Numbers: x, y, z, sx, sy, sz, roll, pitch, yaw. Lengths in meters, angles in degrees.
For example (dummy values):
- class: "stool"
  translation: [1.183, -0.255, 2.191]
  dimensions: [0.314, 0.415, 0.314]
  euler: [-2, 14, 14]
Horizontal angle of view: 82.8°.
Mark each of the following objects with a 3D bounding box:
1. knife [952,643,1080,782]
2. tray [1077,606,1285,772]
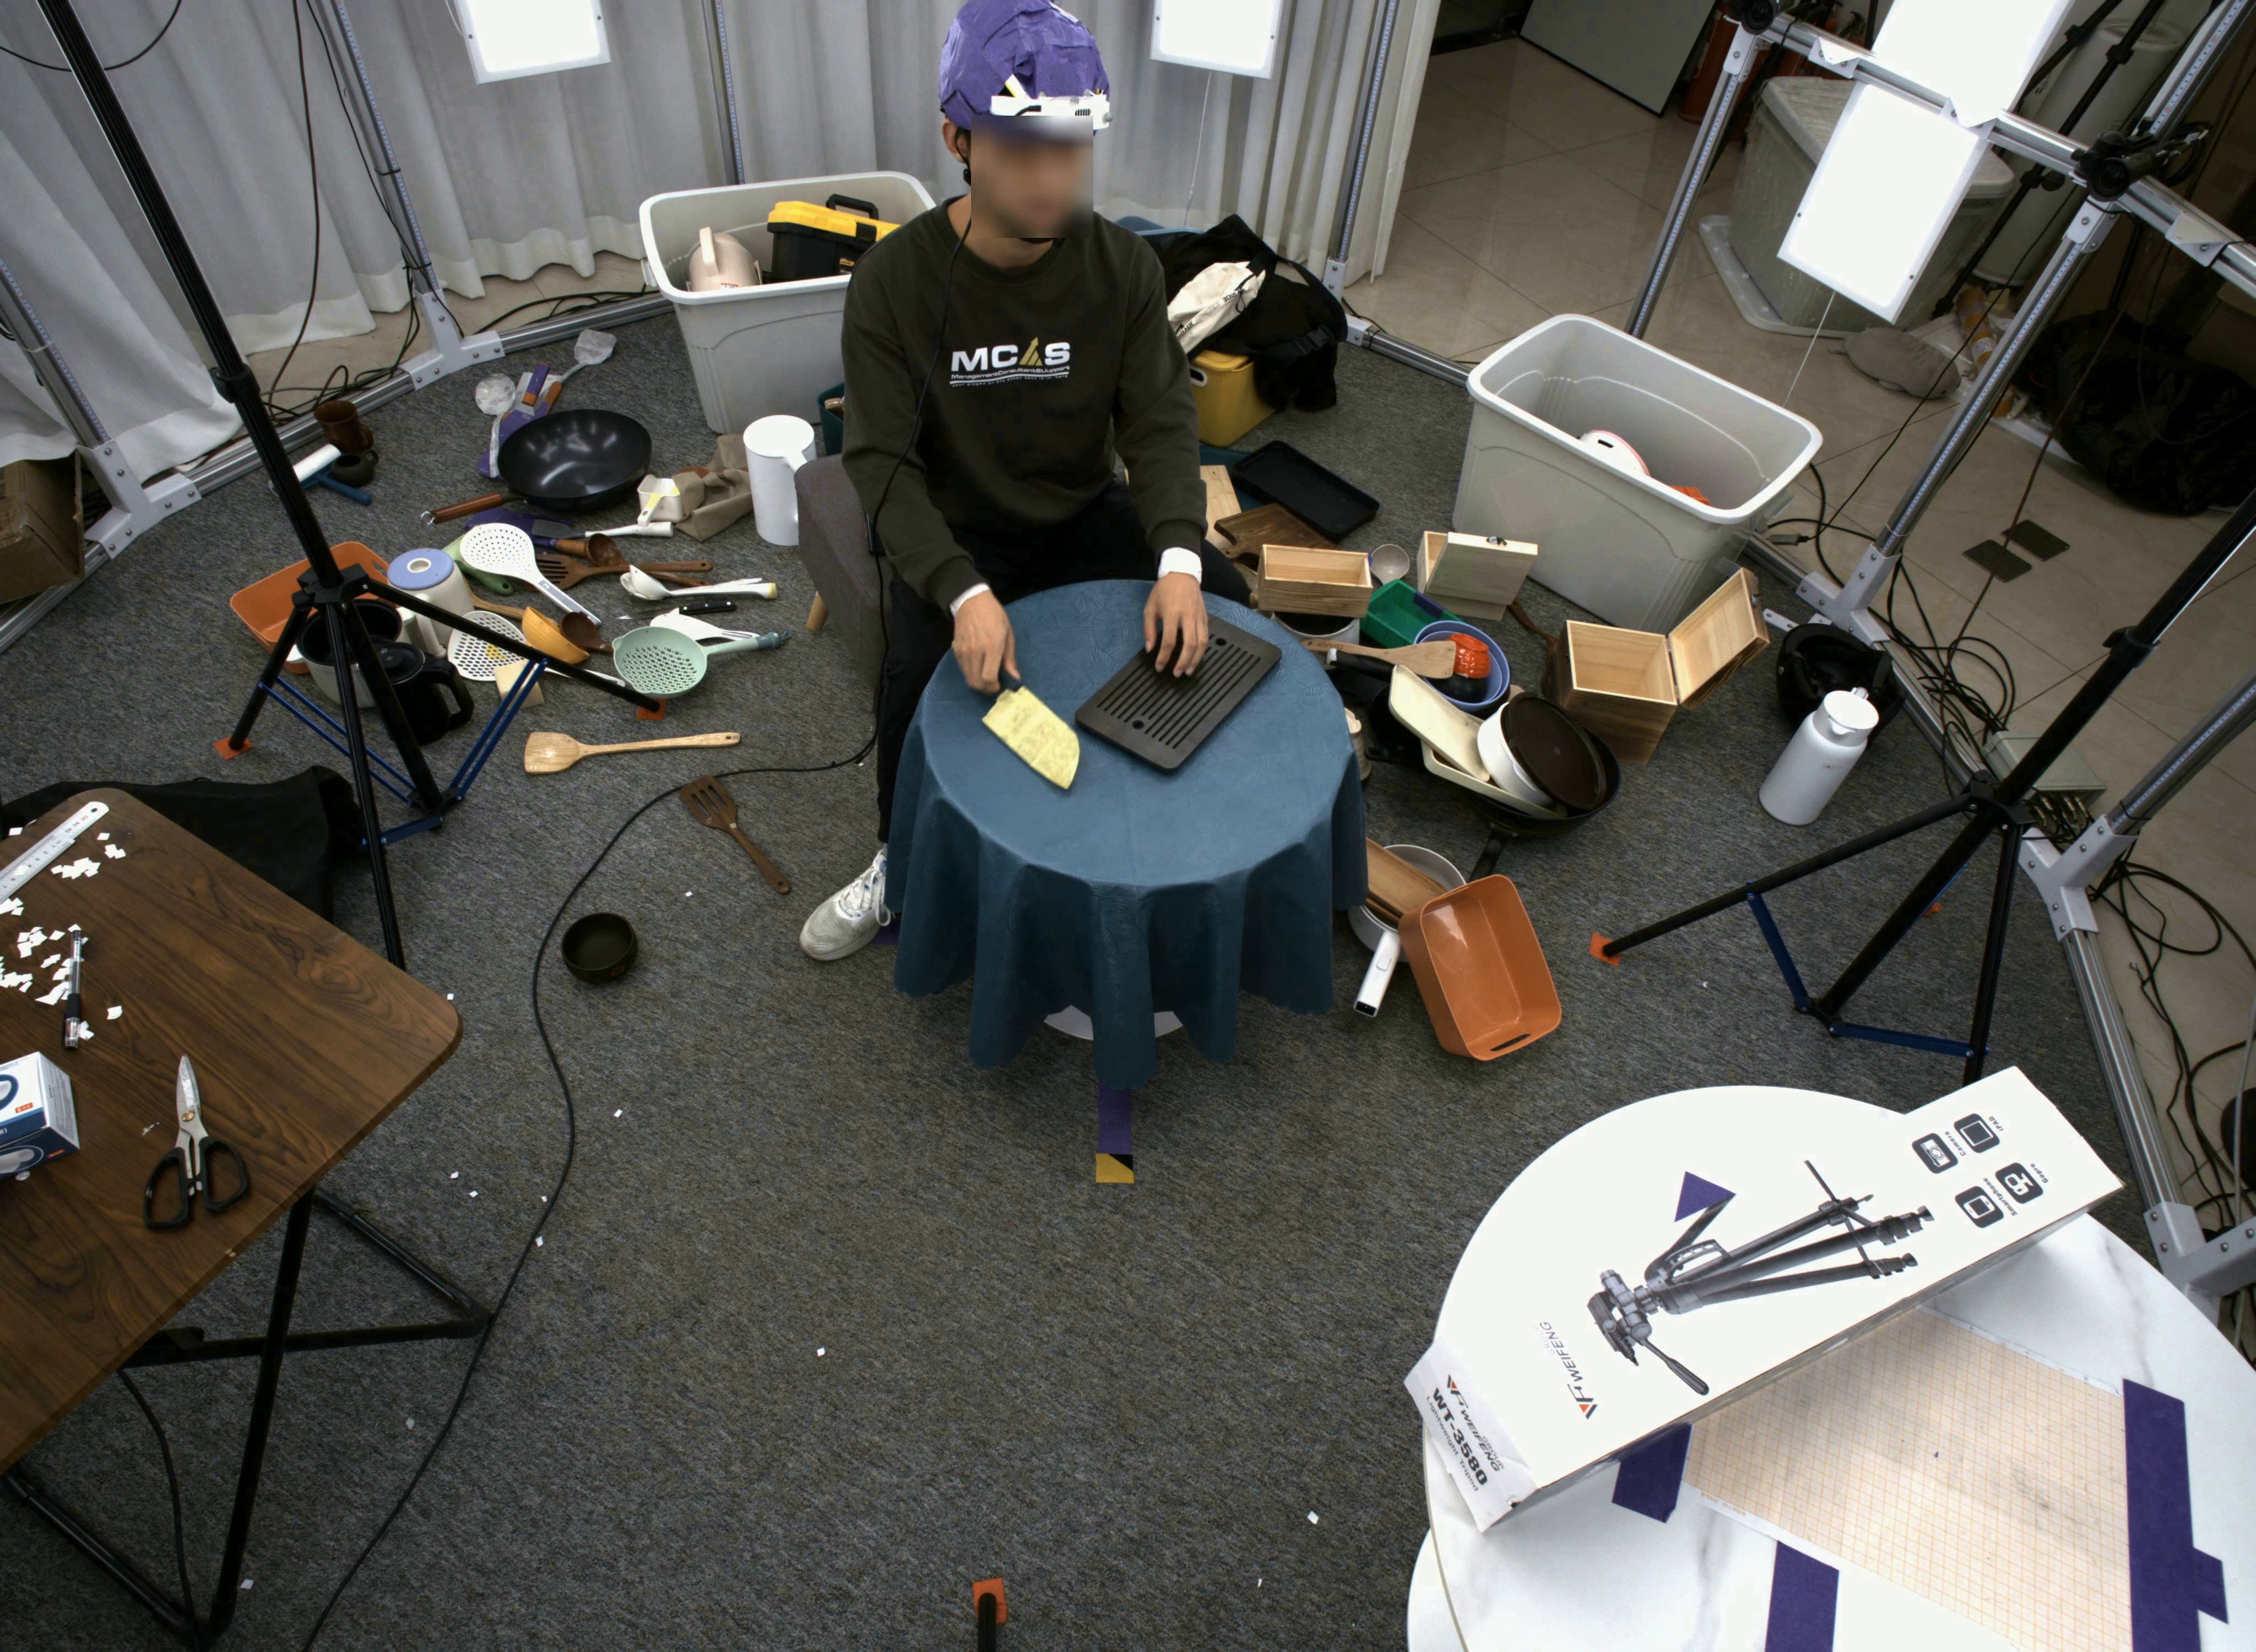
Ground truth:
- class: "knife"
  translation: [-0.161, -0.157, 1.760]
  dimensions: [0.081, 0.027, 0.294]
  euler: [-44, 61, -1]
- class: "tray"
  translation: [0.079, -0.199, 1.833]
  dimensions: [0.172, 0.018, 0.310]
  euler: [29, 53, 21]
